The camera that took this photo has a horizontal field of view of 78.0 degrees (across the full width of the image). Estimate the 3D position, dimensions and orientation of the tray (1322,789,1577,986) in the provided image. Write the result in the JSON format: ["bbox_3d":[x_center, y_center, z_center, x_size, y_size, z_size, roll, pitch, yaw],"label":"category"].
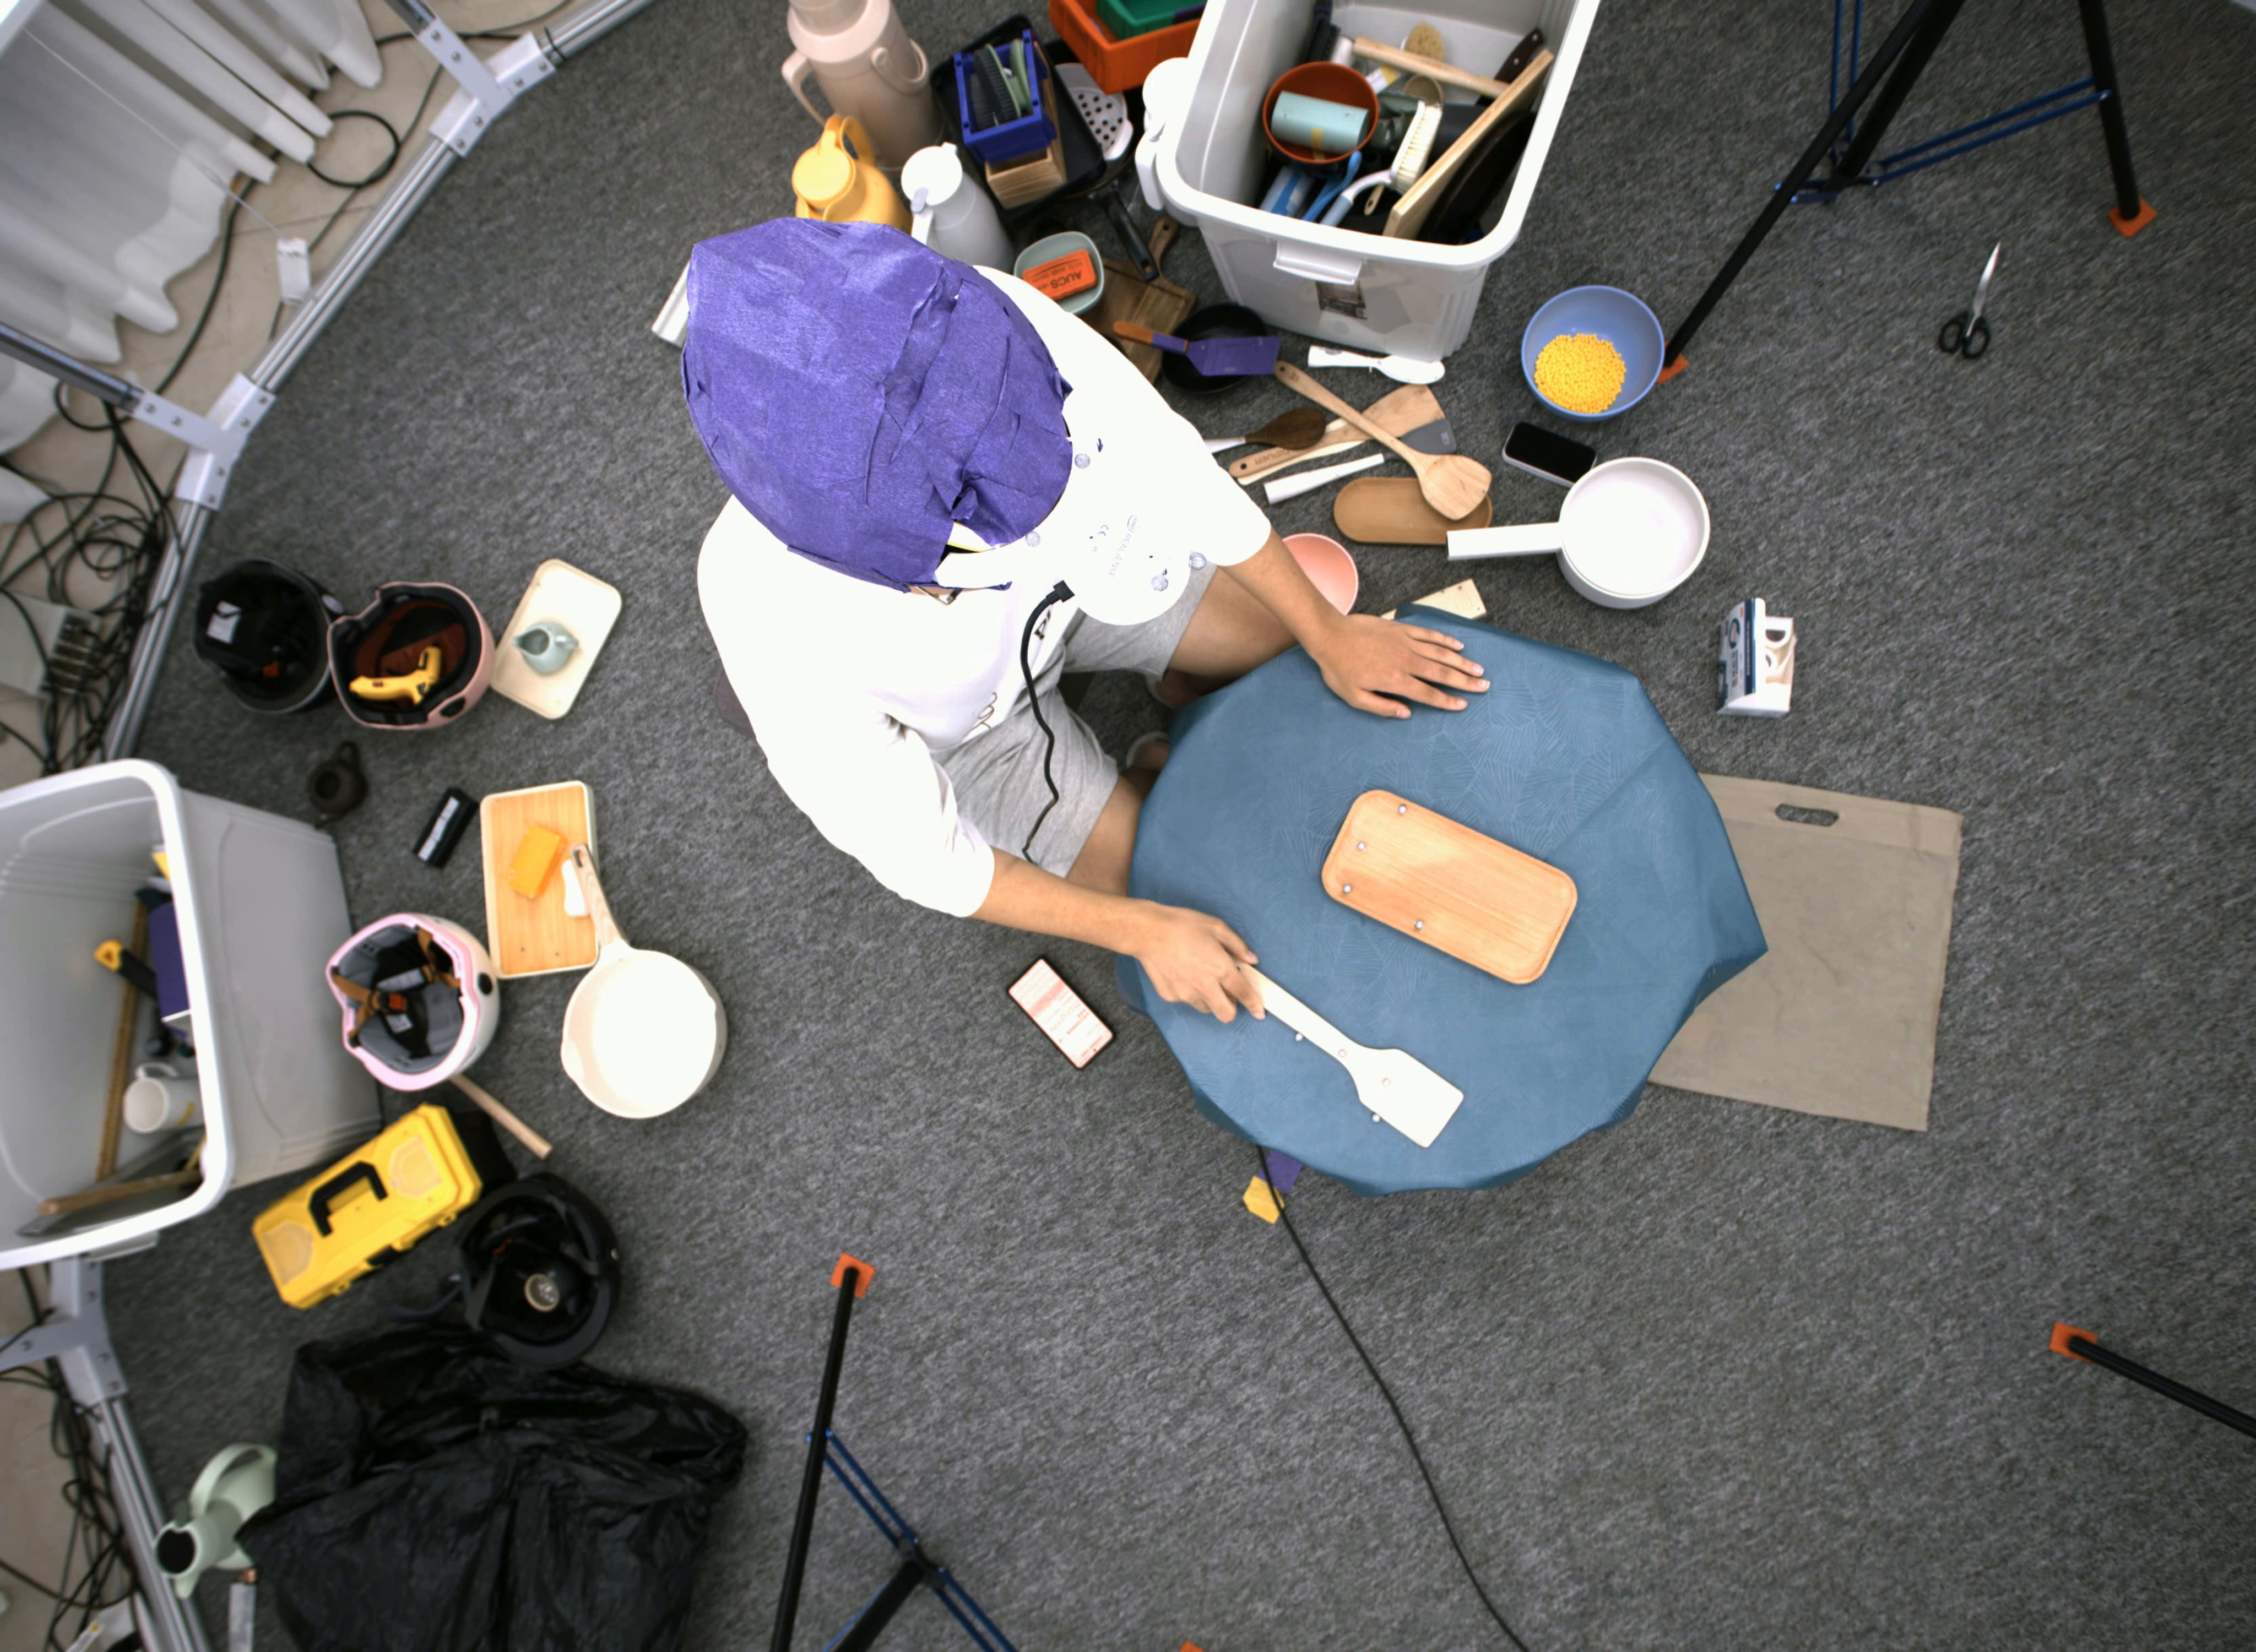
[{"bbox_3d":[0.334,0.062,1.440,0.250,0.023,0.131,27,94,11],"label":"tray"}]

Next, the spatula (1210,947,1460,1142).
[{"bbox_3d":[0.209,0.219,1.456,0.292,0.010,0.072,35,94,9],"label":"spatula"}]
